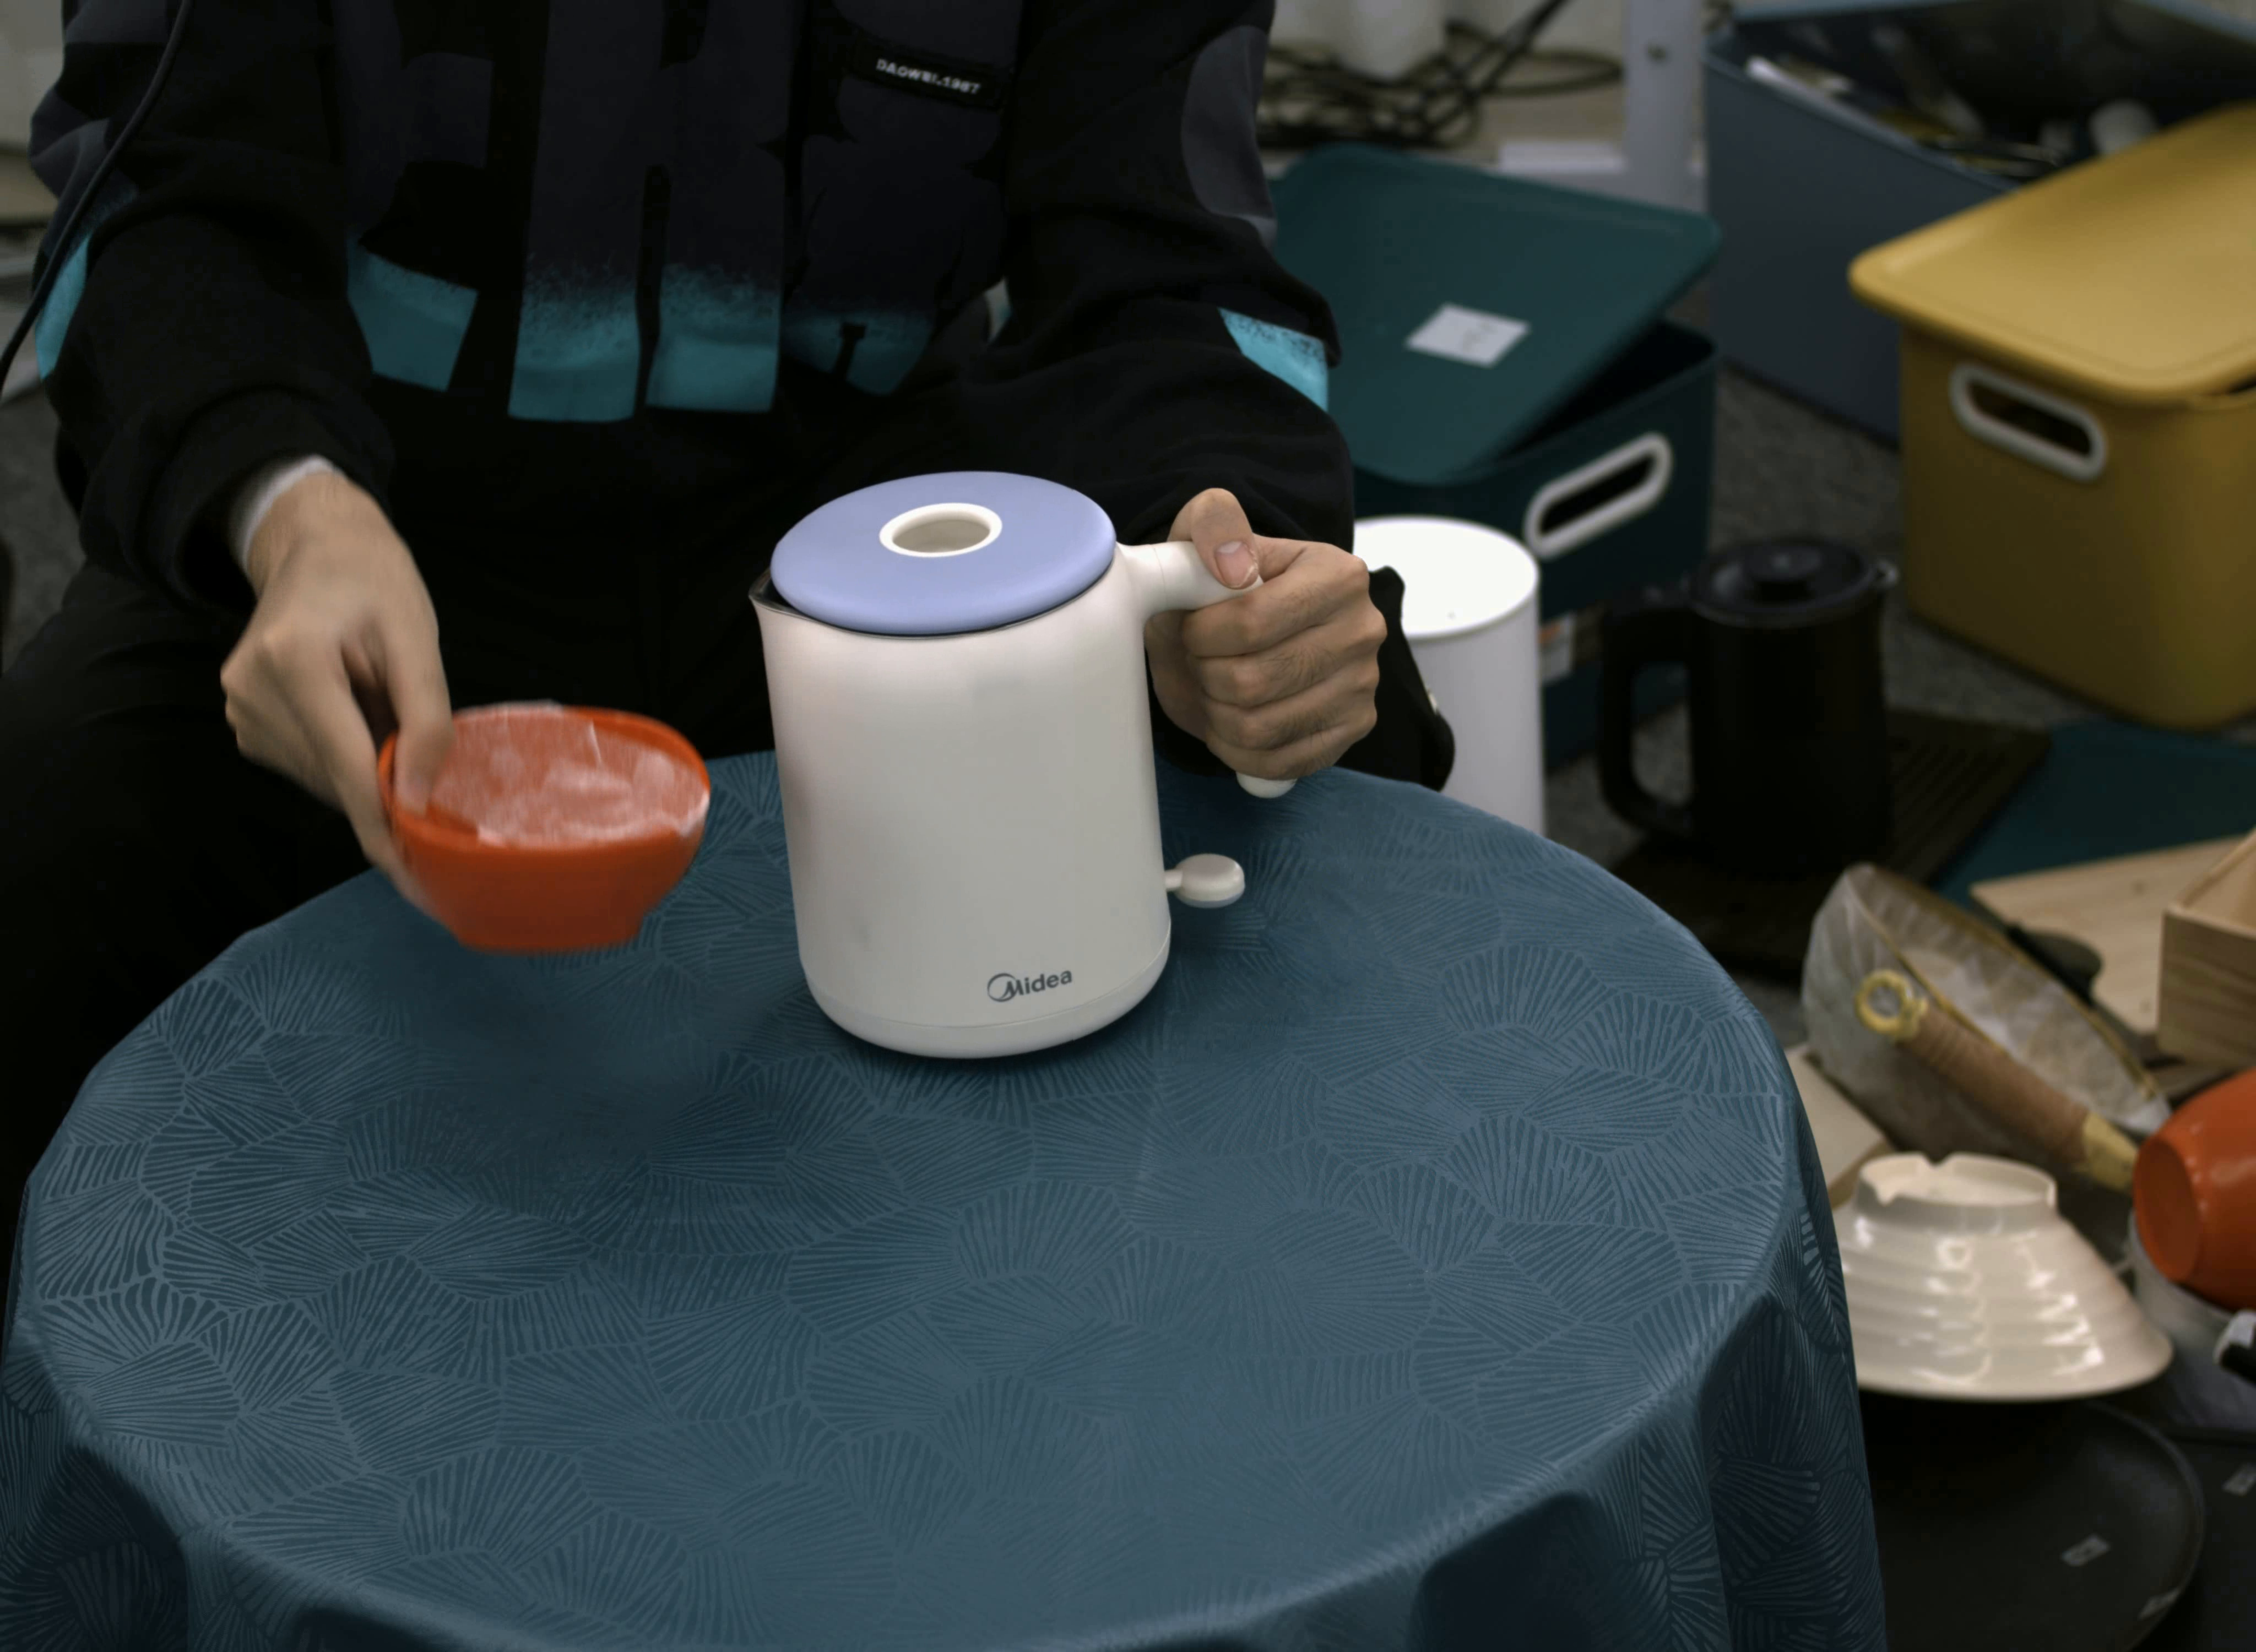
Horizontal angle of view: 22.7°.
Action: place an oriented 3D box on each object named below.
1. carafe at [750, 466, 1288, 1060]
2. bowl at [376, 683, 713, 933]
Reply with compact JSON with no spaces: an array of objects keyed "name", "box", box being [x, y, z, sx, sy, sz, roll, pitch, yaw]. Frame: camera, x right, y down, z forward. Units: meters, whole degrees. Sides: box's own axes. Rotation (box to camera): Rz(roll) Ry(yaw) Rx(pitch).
[{"name":"carafe","box":[-0.034,-0.027,1.955,0.191,0.180,0.133,-10,28,-16]},{"name":"bowl","box":[-0.195,-0.002,1.874,0.118,0.051,0.120,3,26,-1]}]
